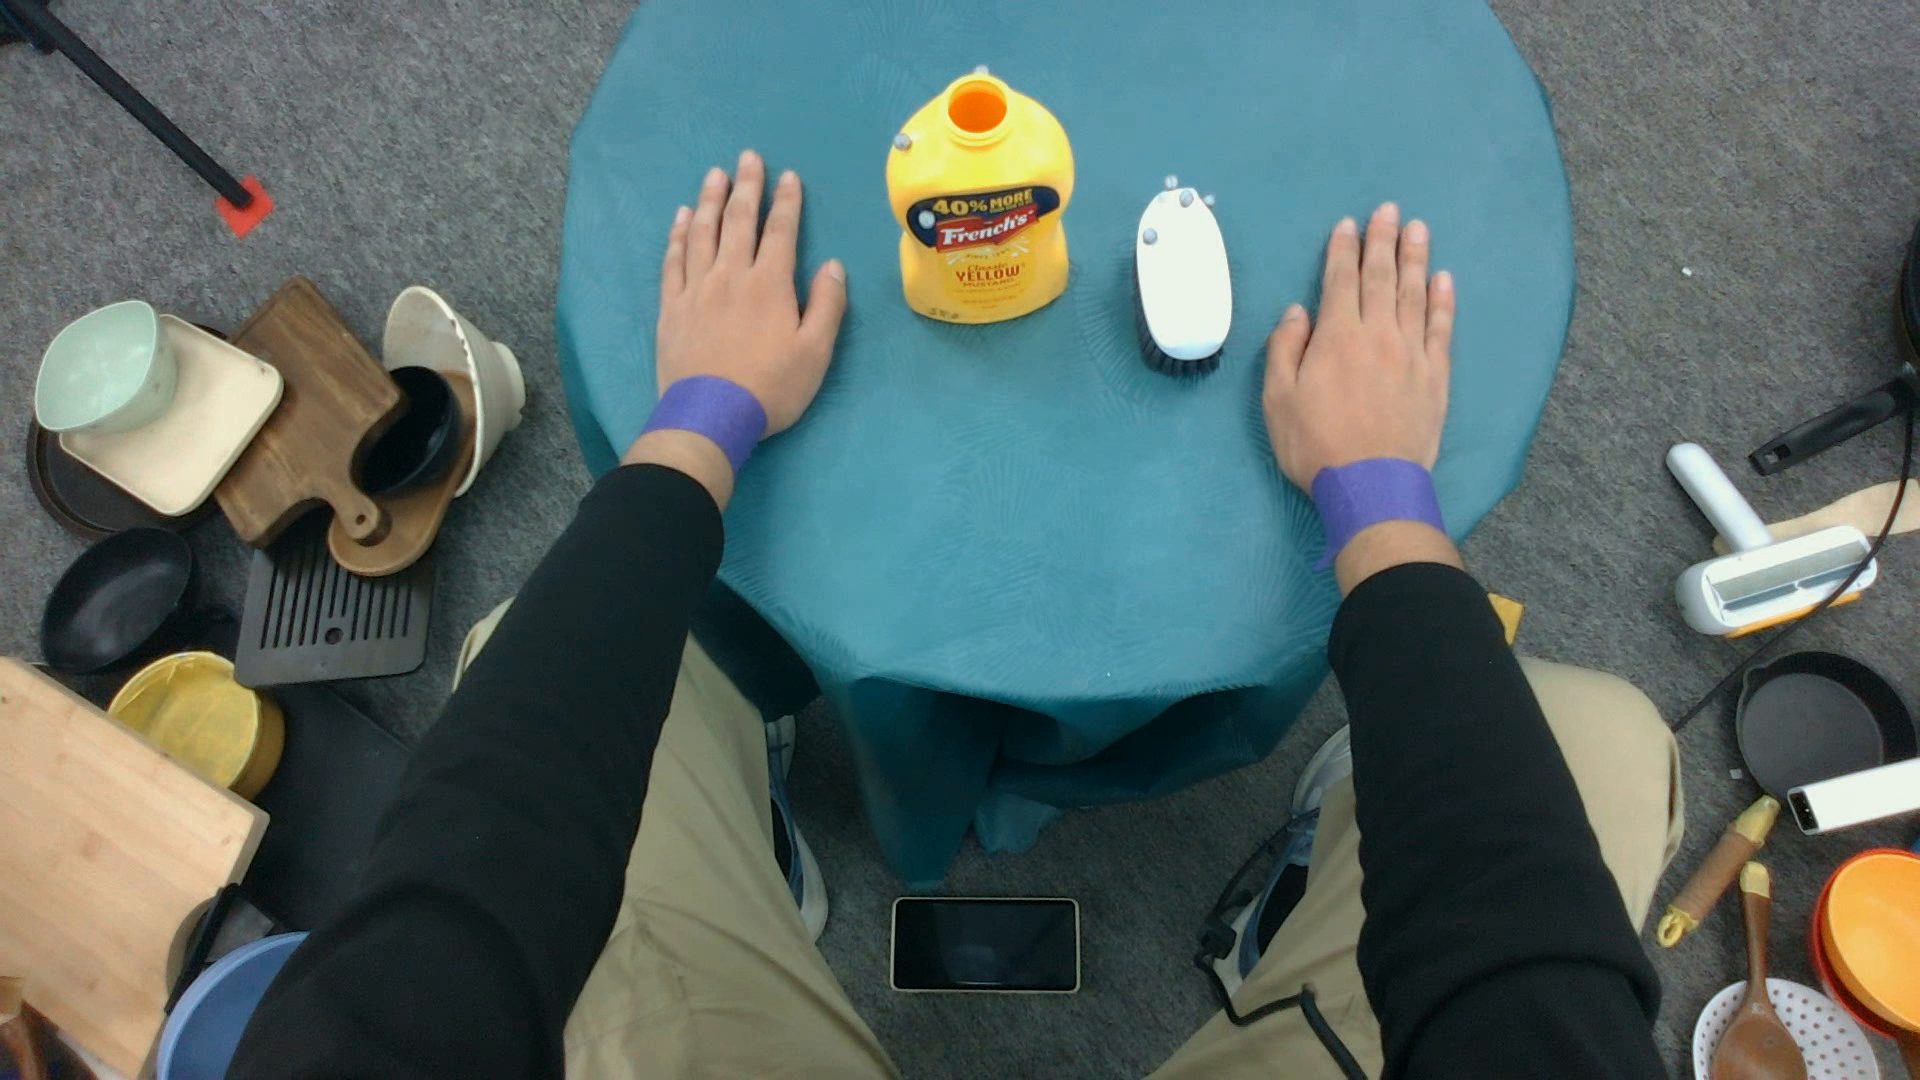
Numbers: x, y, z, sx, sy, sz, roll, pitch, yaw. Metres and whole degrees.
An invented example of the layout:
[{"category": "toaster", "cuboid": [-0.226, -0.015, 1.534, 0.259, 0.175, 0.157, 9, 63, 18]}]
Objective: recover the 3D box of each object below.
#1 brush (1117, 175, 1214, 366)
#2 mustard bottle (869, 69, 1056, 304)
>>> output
[{"category": "brush", "cuboid": [0.116, -0.156, 0.766, 0.050, 0.072, 0.099, -4, 71, 2]}, {"category": "mustard bottle", "cuboid": [0.002, -0.186, 0.729, 0.098, 0.171, 0.059, -9, 76, -3]}]
